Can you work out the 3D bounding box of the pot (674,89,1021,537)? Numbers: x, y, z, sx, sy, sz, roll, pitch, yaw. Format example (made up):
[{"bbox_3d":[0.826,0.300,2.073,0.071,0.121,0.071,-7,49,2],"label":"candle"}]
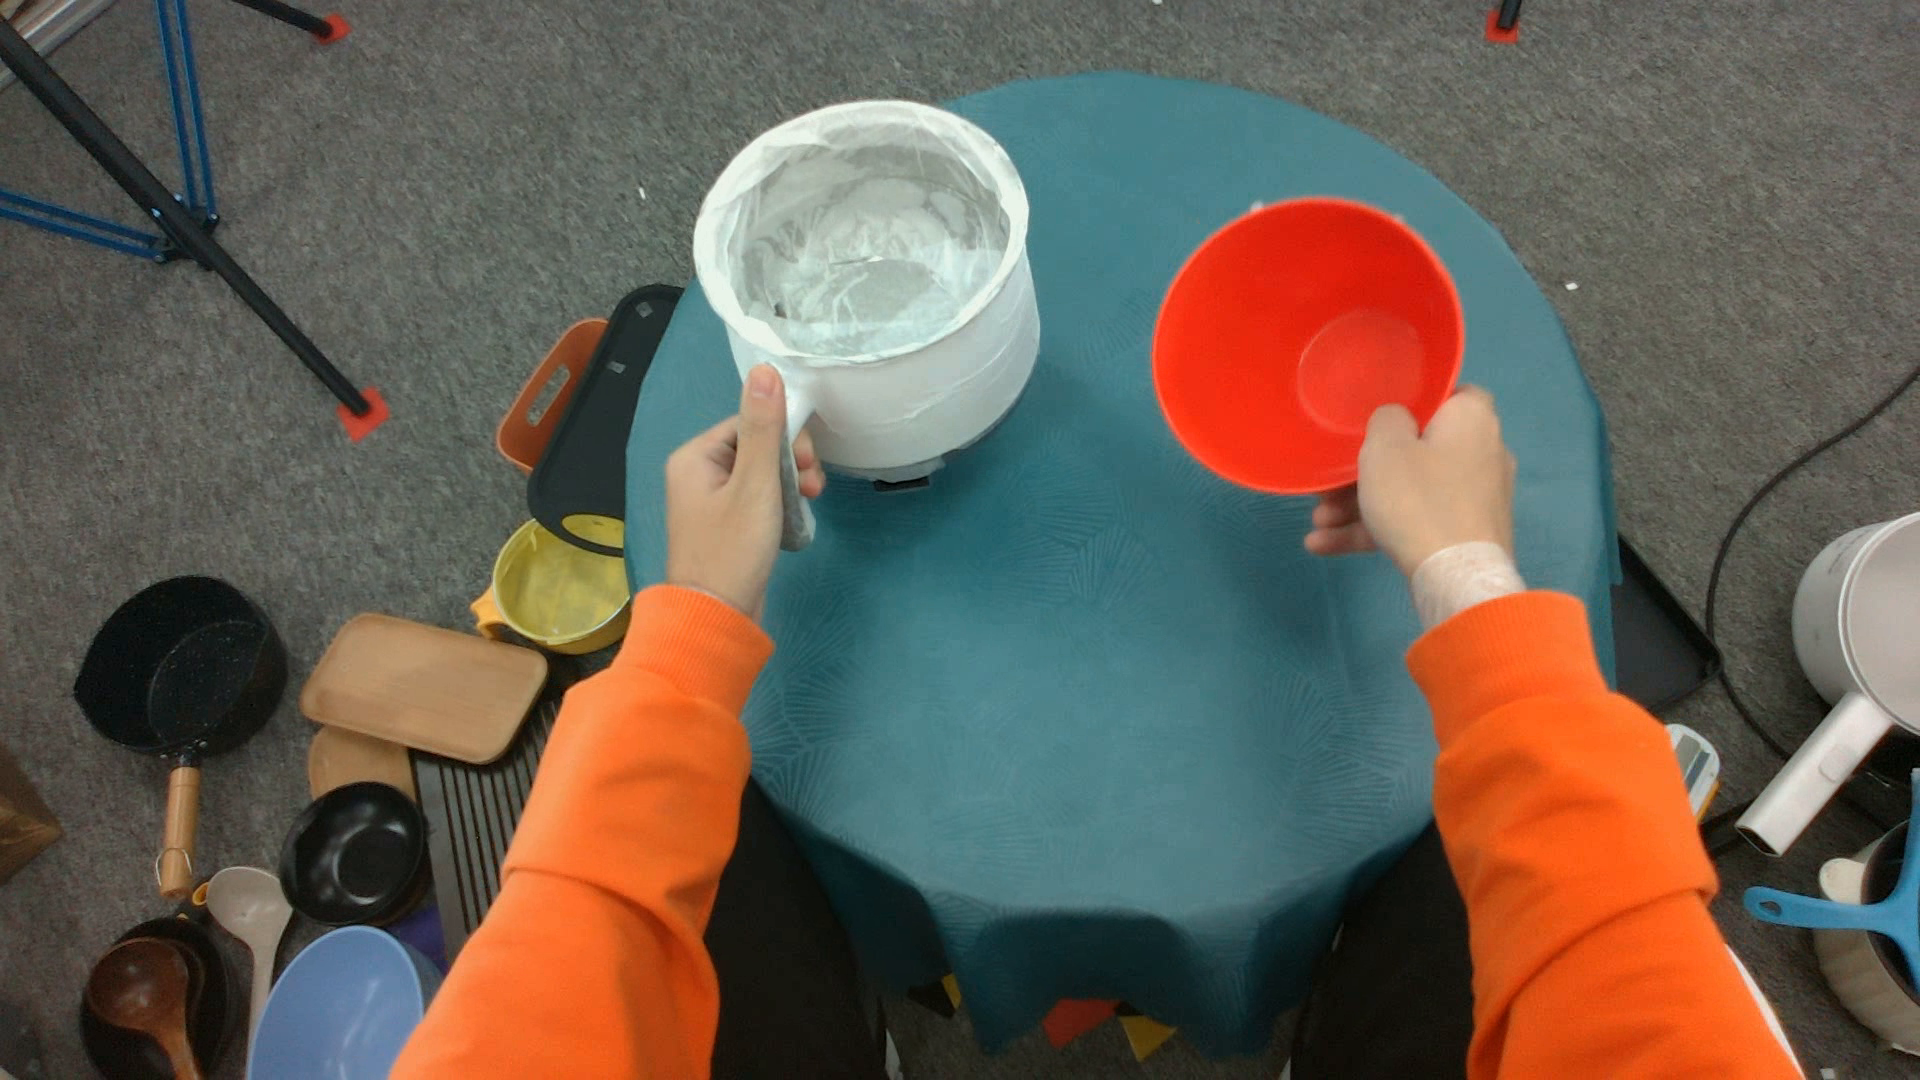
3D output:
[{"bbox_3d":[-0.067,-0.119,0.765,0.178,0.136,0.234,18,65,16],"label":"pot"}]

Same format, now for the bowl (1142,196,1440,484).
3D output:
[{"bbox_3d":[0.185,-0.101,0.733,0.147,0.105,0.148,-1,88,31],"label":"bowl"}]
